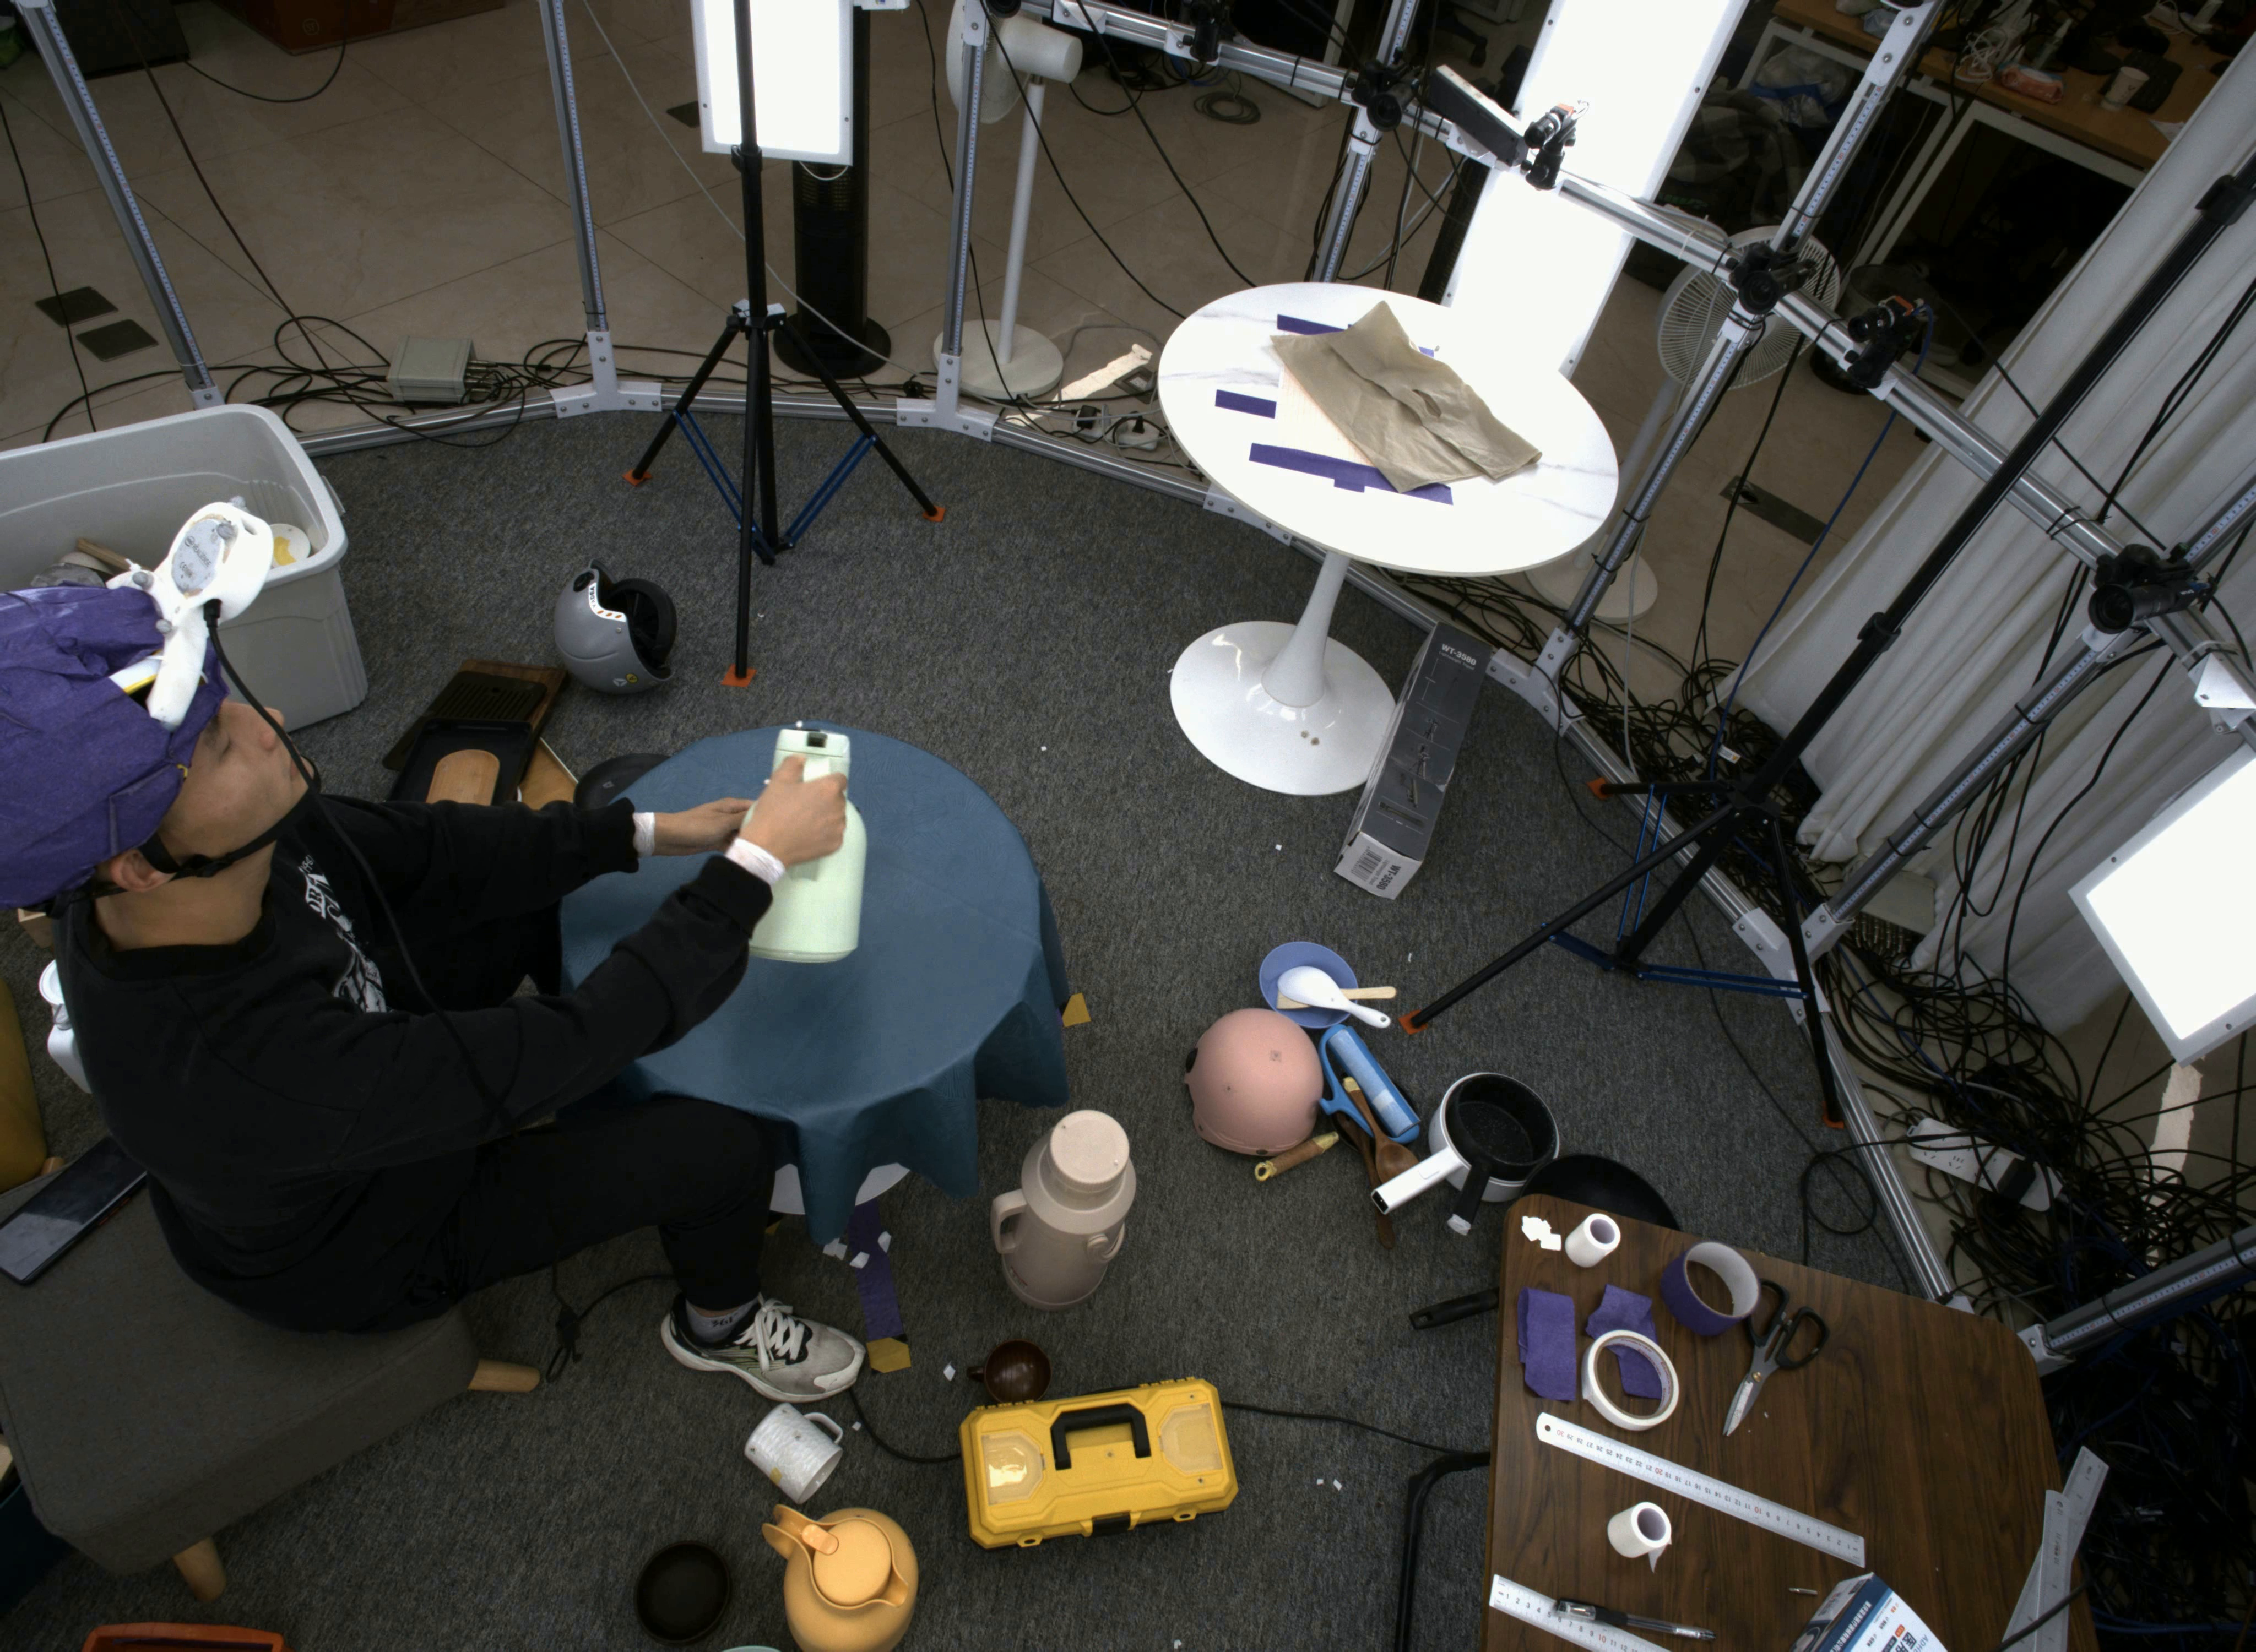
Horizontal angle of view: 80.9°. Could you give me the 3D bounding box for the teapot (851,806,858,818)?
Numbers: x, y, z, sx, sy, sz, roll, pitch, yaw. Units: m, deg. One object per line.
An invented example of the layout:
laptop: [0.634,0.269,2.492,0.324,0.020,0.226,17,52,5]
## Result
teapot: [-0.406,-0.003,1.630,0.134,0.054,0.088,-3,46,-19]

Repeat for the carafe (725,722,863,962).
carafe: [-0.362,0.016,1.433,0.145,0.182,0.261,5,95,-19]
